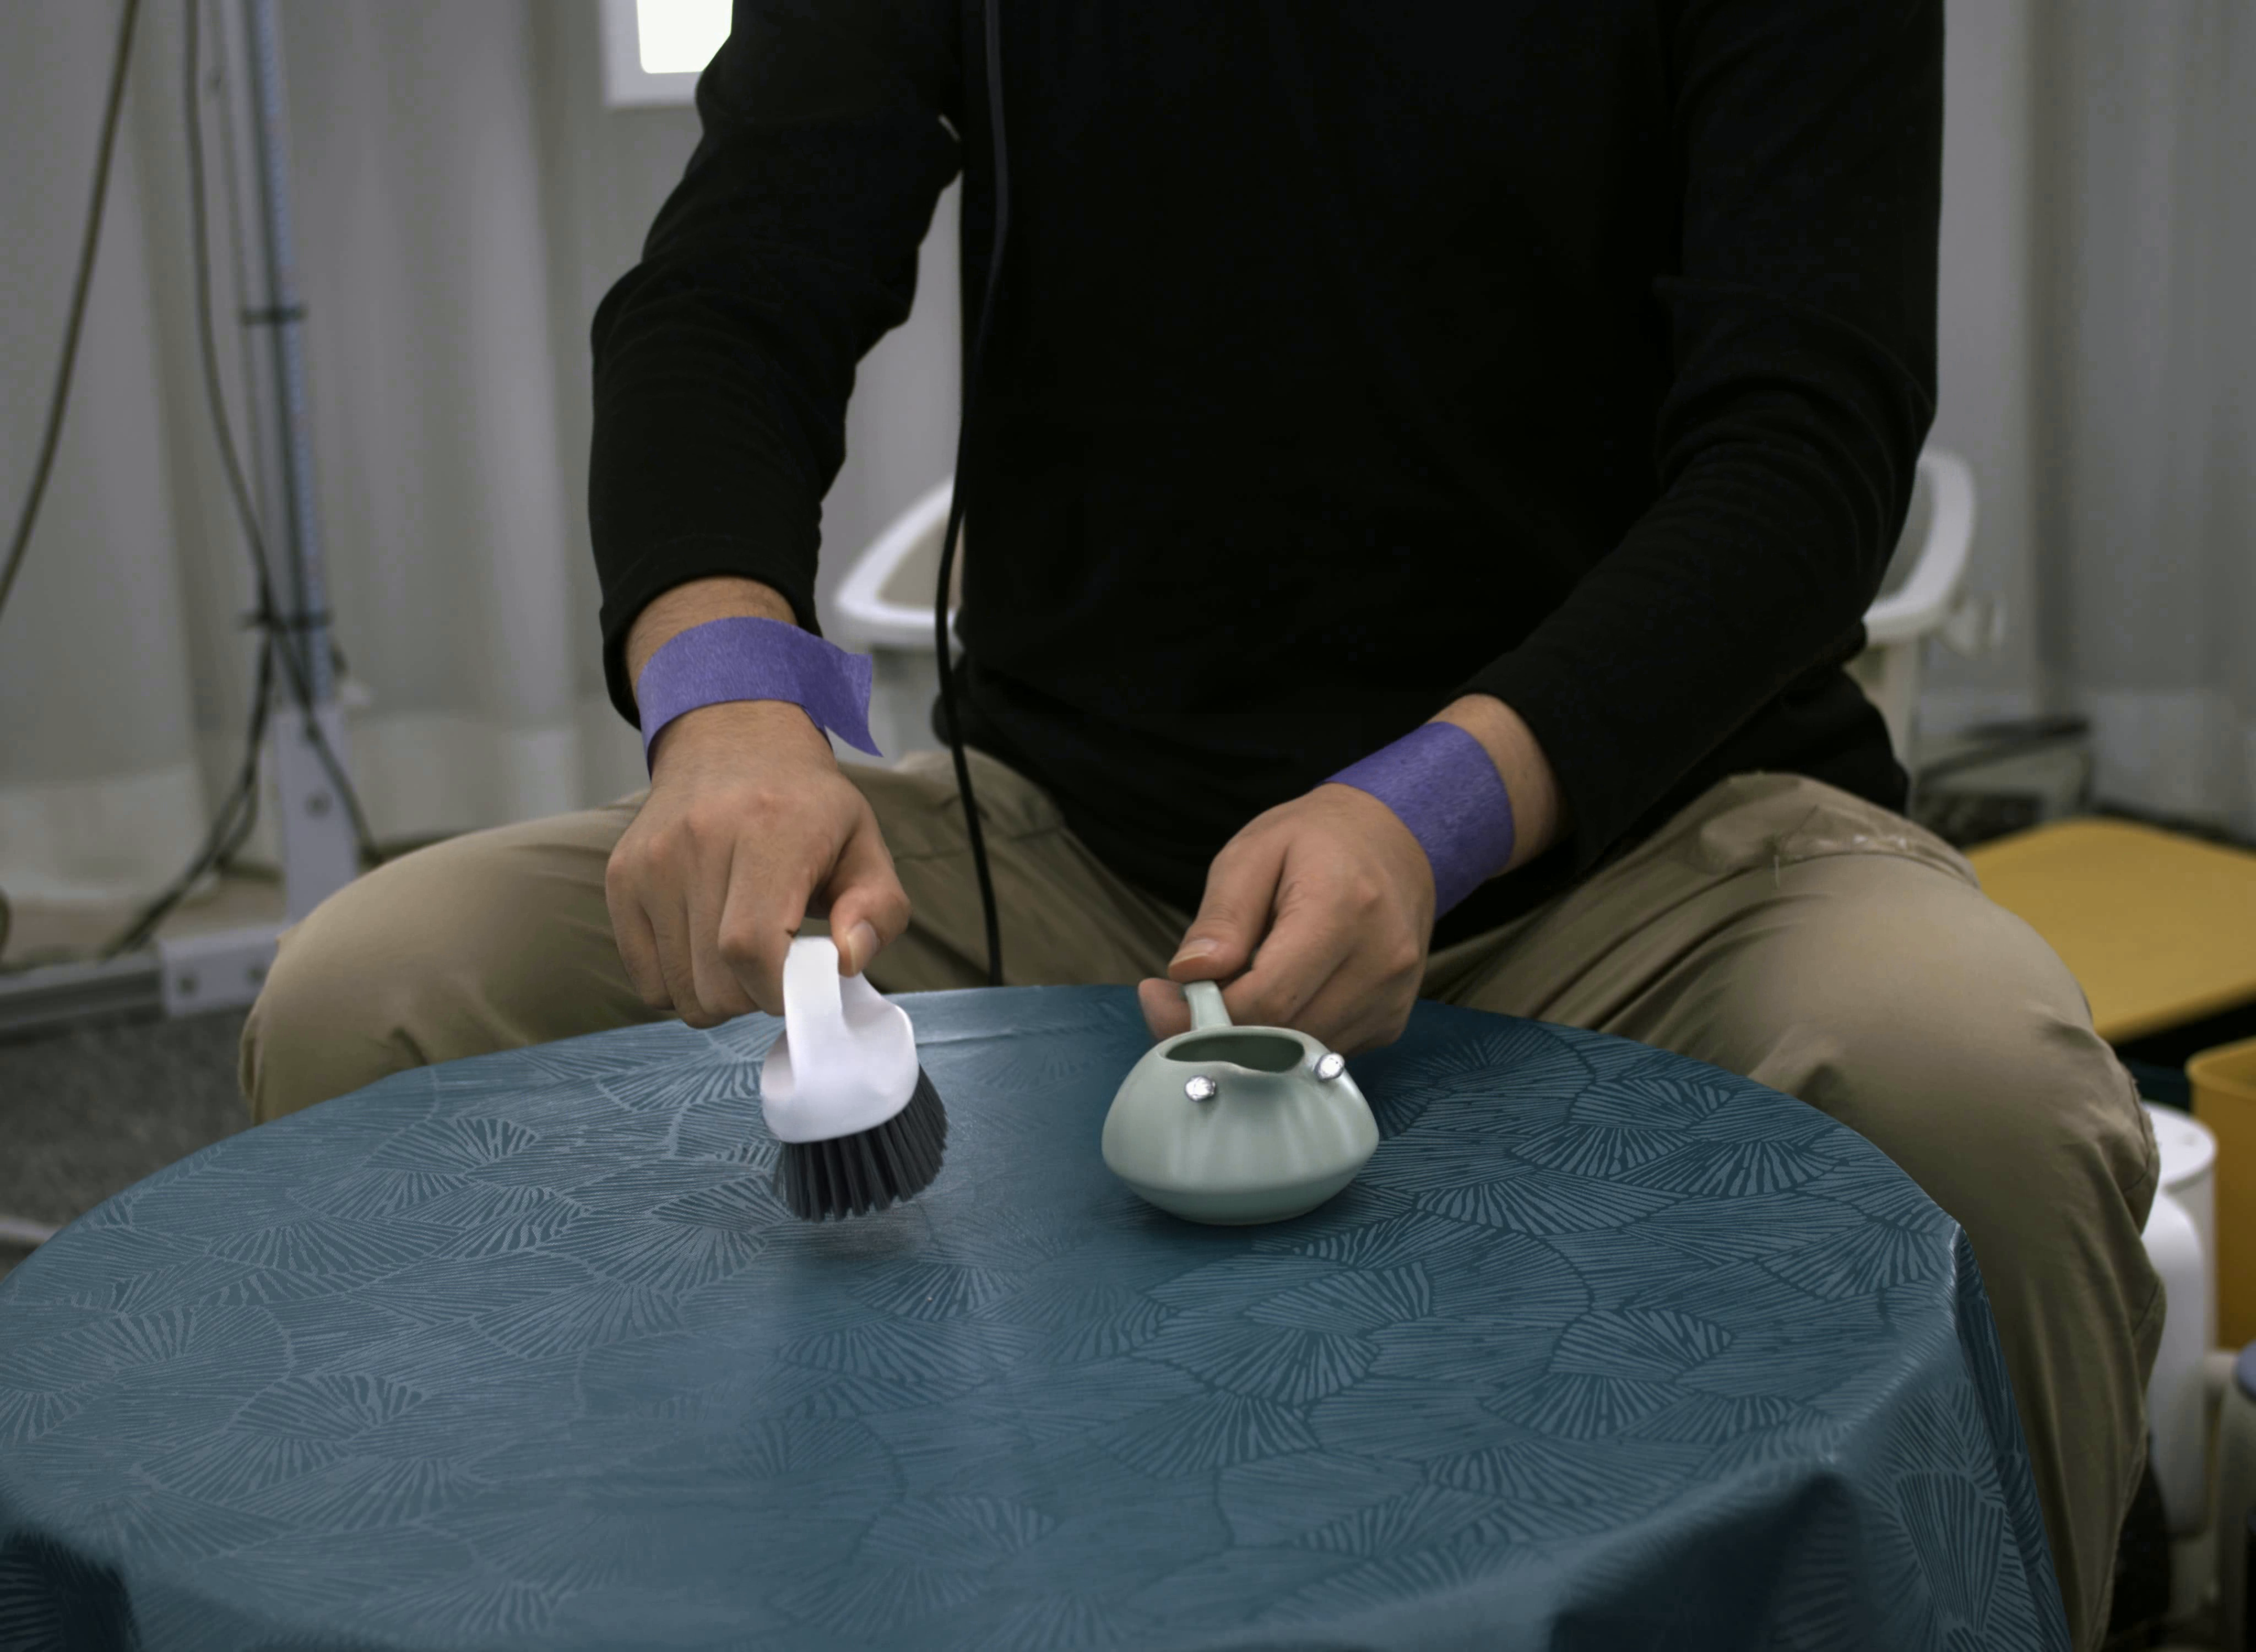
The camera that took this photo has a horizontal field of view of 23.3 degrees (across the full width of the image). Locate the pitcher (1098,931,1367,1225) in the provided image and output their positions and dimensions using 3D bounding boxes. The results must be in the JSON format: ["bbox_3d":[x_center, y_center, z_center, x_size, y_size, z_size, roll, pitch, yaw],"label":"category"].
[{"bbox_3d":[0.031,0.080,1.714,0.086,0.060,0.109,-12,30,9],"label":"pitcher"}]

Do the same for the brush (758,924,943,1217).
[{"bbox_3d":[-0.090,0.069,1.690,0.050,0.072,0.100,-13,17,6],"label":"brush"}]
